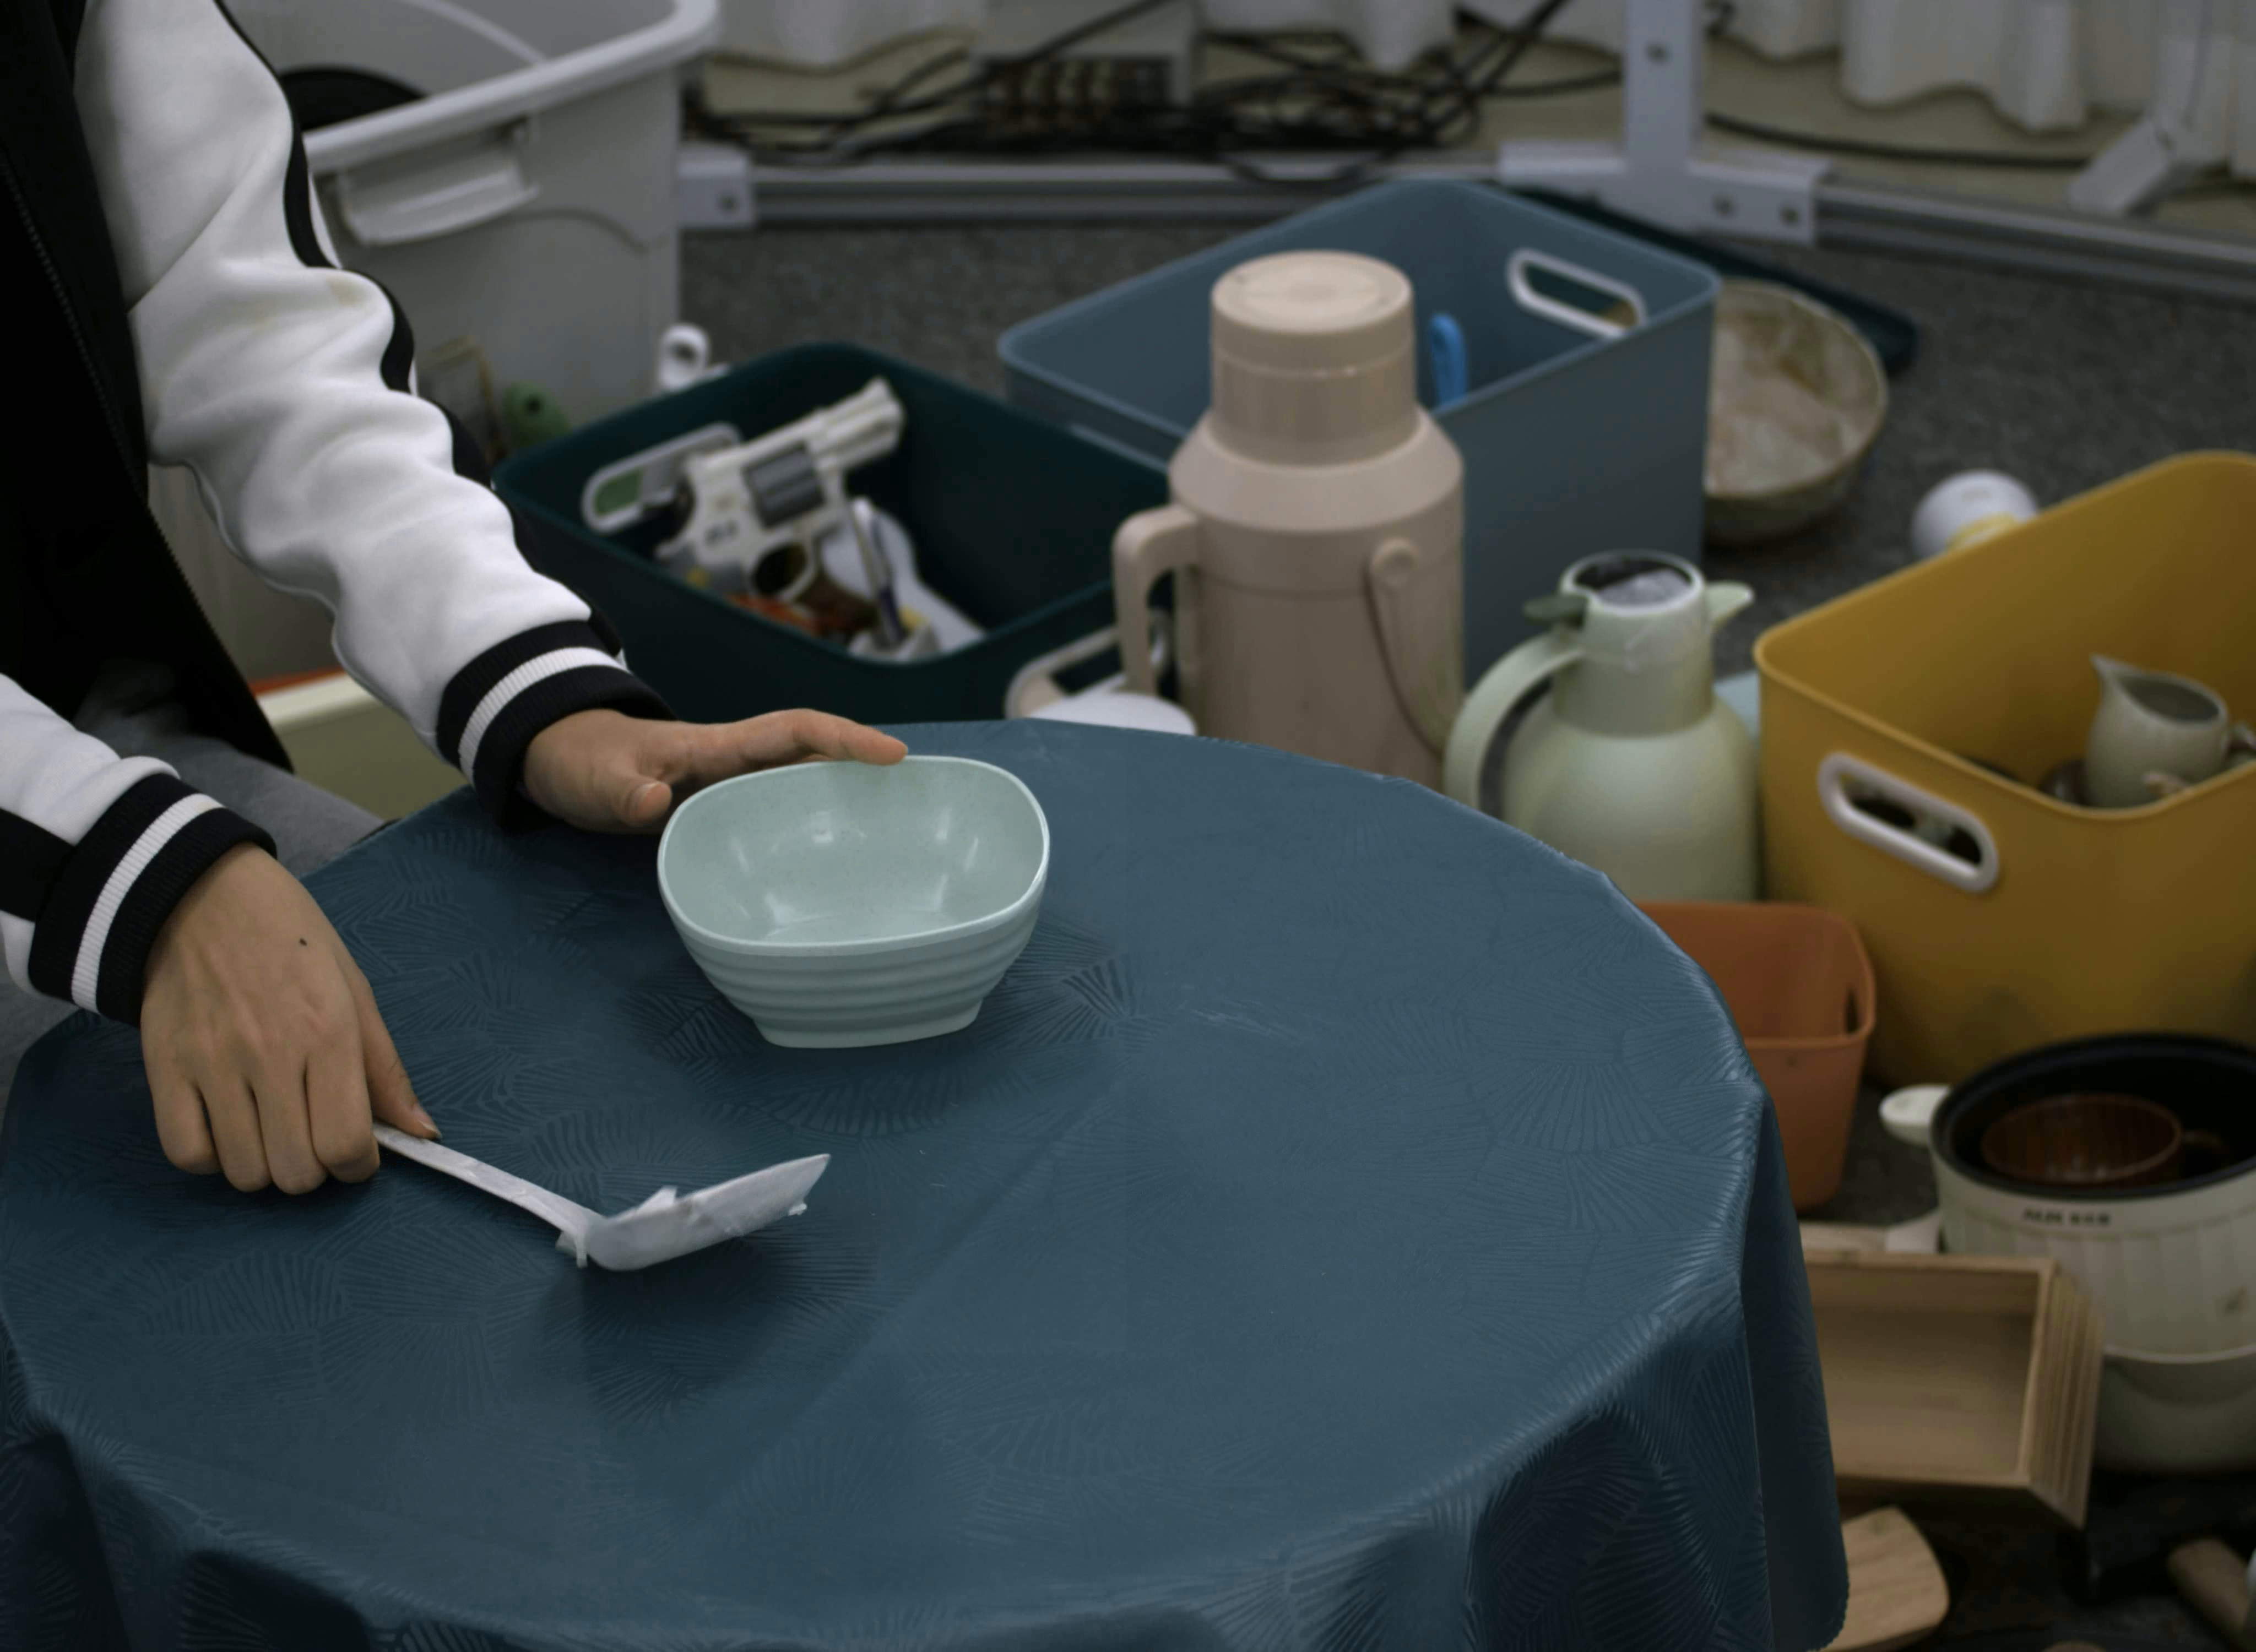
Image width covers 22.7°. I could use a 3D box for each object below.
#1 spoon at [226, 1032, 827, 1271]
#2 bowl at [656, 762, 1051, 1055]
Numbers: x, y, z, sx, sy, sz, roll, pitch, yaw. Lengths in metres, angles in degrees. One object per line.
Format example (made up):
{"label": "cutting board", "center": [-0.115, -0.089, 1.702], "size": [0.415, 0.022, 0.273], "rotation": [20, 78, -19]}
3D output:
{"label": "spoon", "center": [-0.209, 0.092, 1.878], "size": [0.277, 0.059, 0.101], "rotation": [23, 22, 40]}
{"label": "bowl", "center": [-0.095, 0.035, 1.981], "size": [0.151, 0.058, 0.154], "rotation": [-2, 27, 1]}
